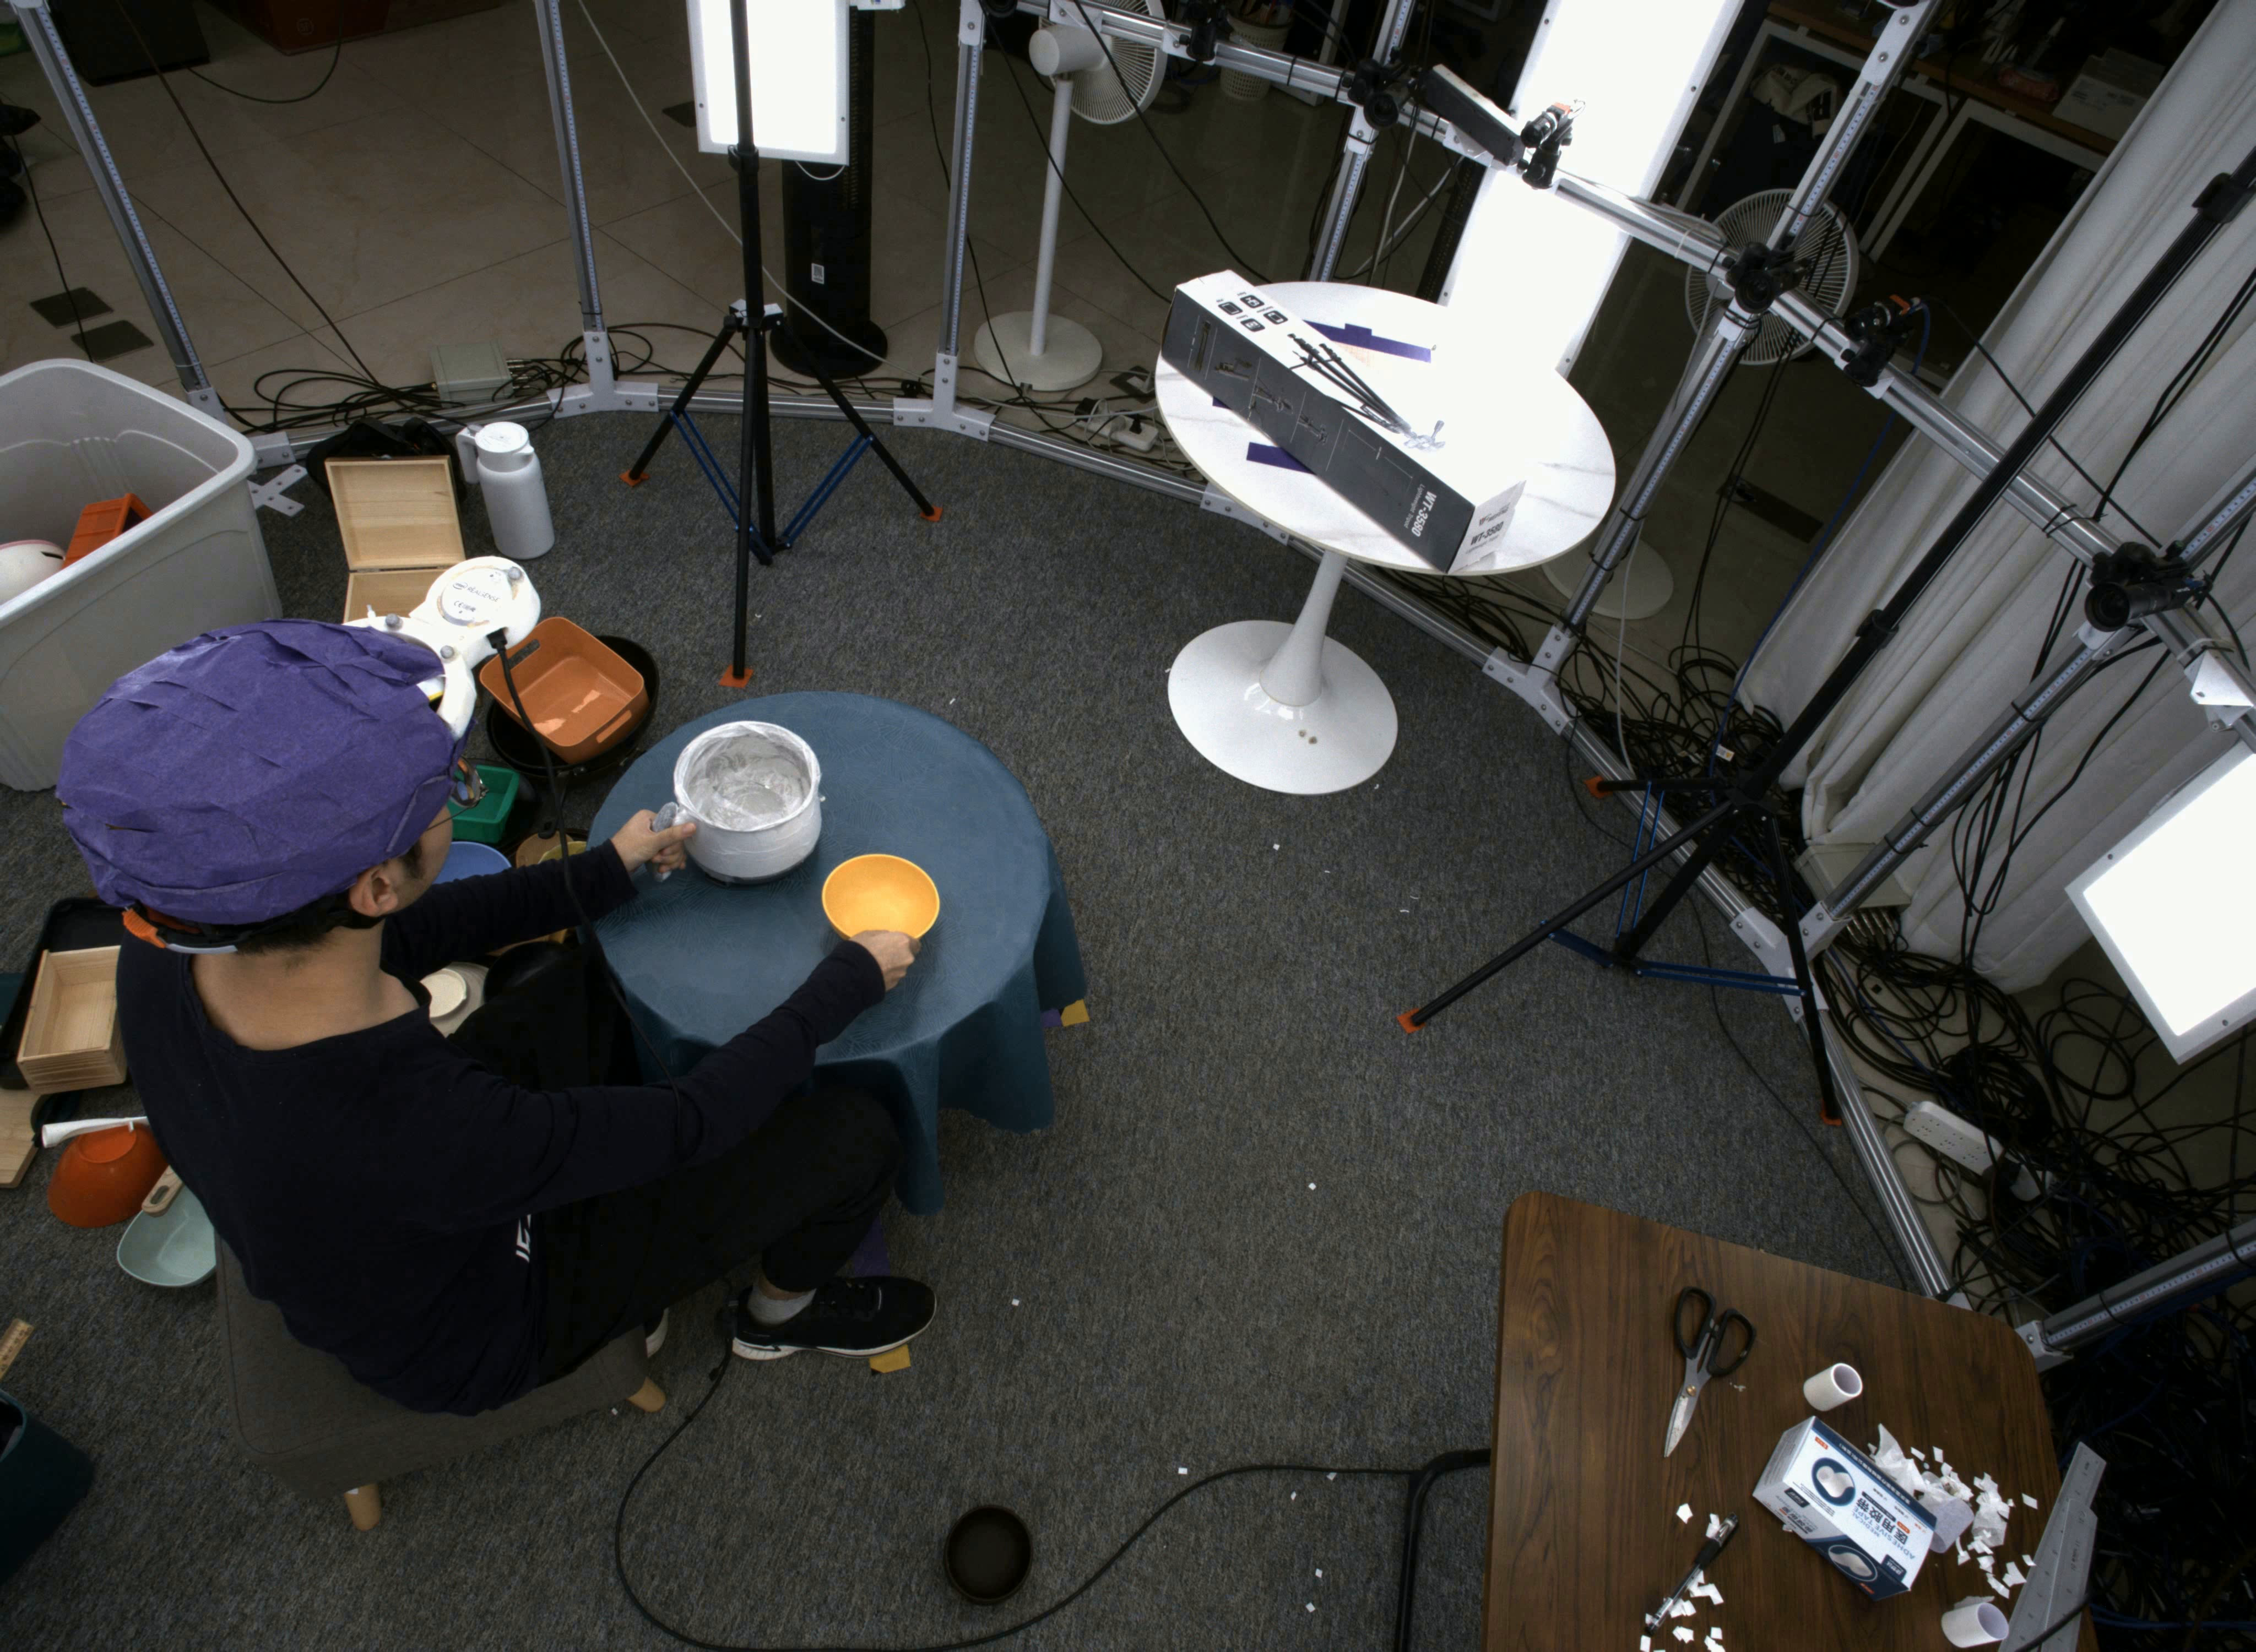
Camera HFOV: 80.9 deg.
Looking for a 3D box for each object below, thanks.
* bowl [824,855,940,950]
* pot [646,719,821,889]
[{"bbox_3d":[-0.312,0.106,1.634,0.145,0.061,0.142,13,42,-11],"label":"bowl"},{"bbox_3d":[-0.504,-0.014,1.639,0.234,0.139,0.174,-30,65,-29],"label":"pot"}]
